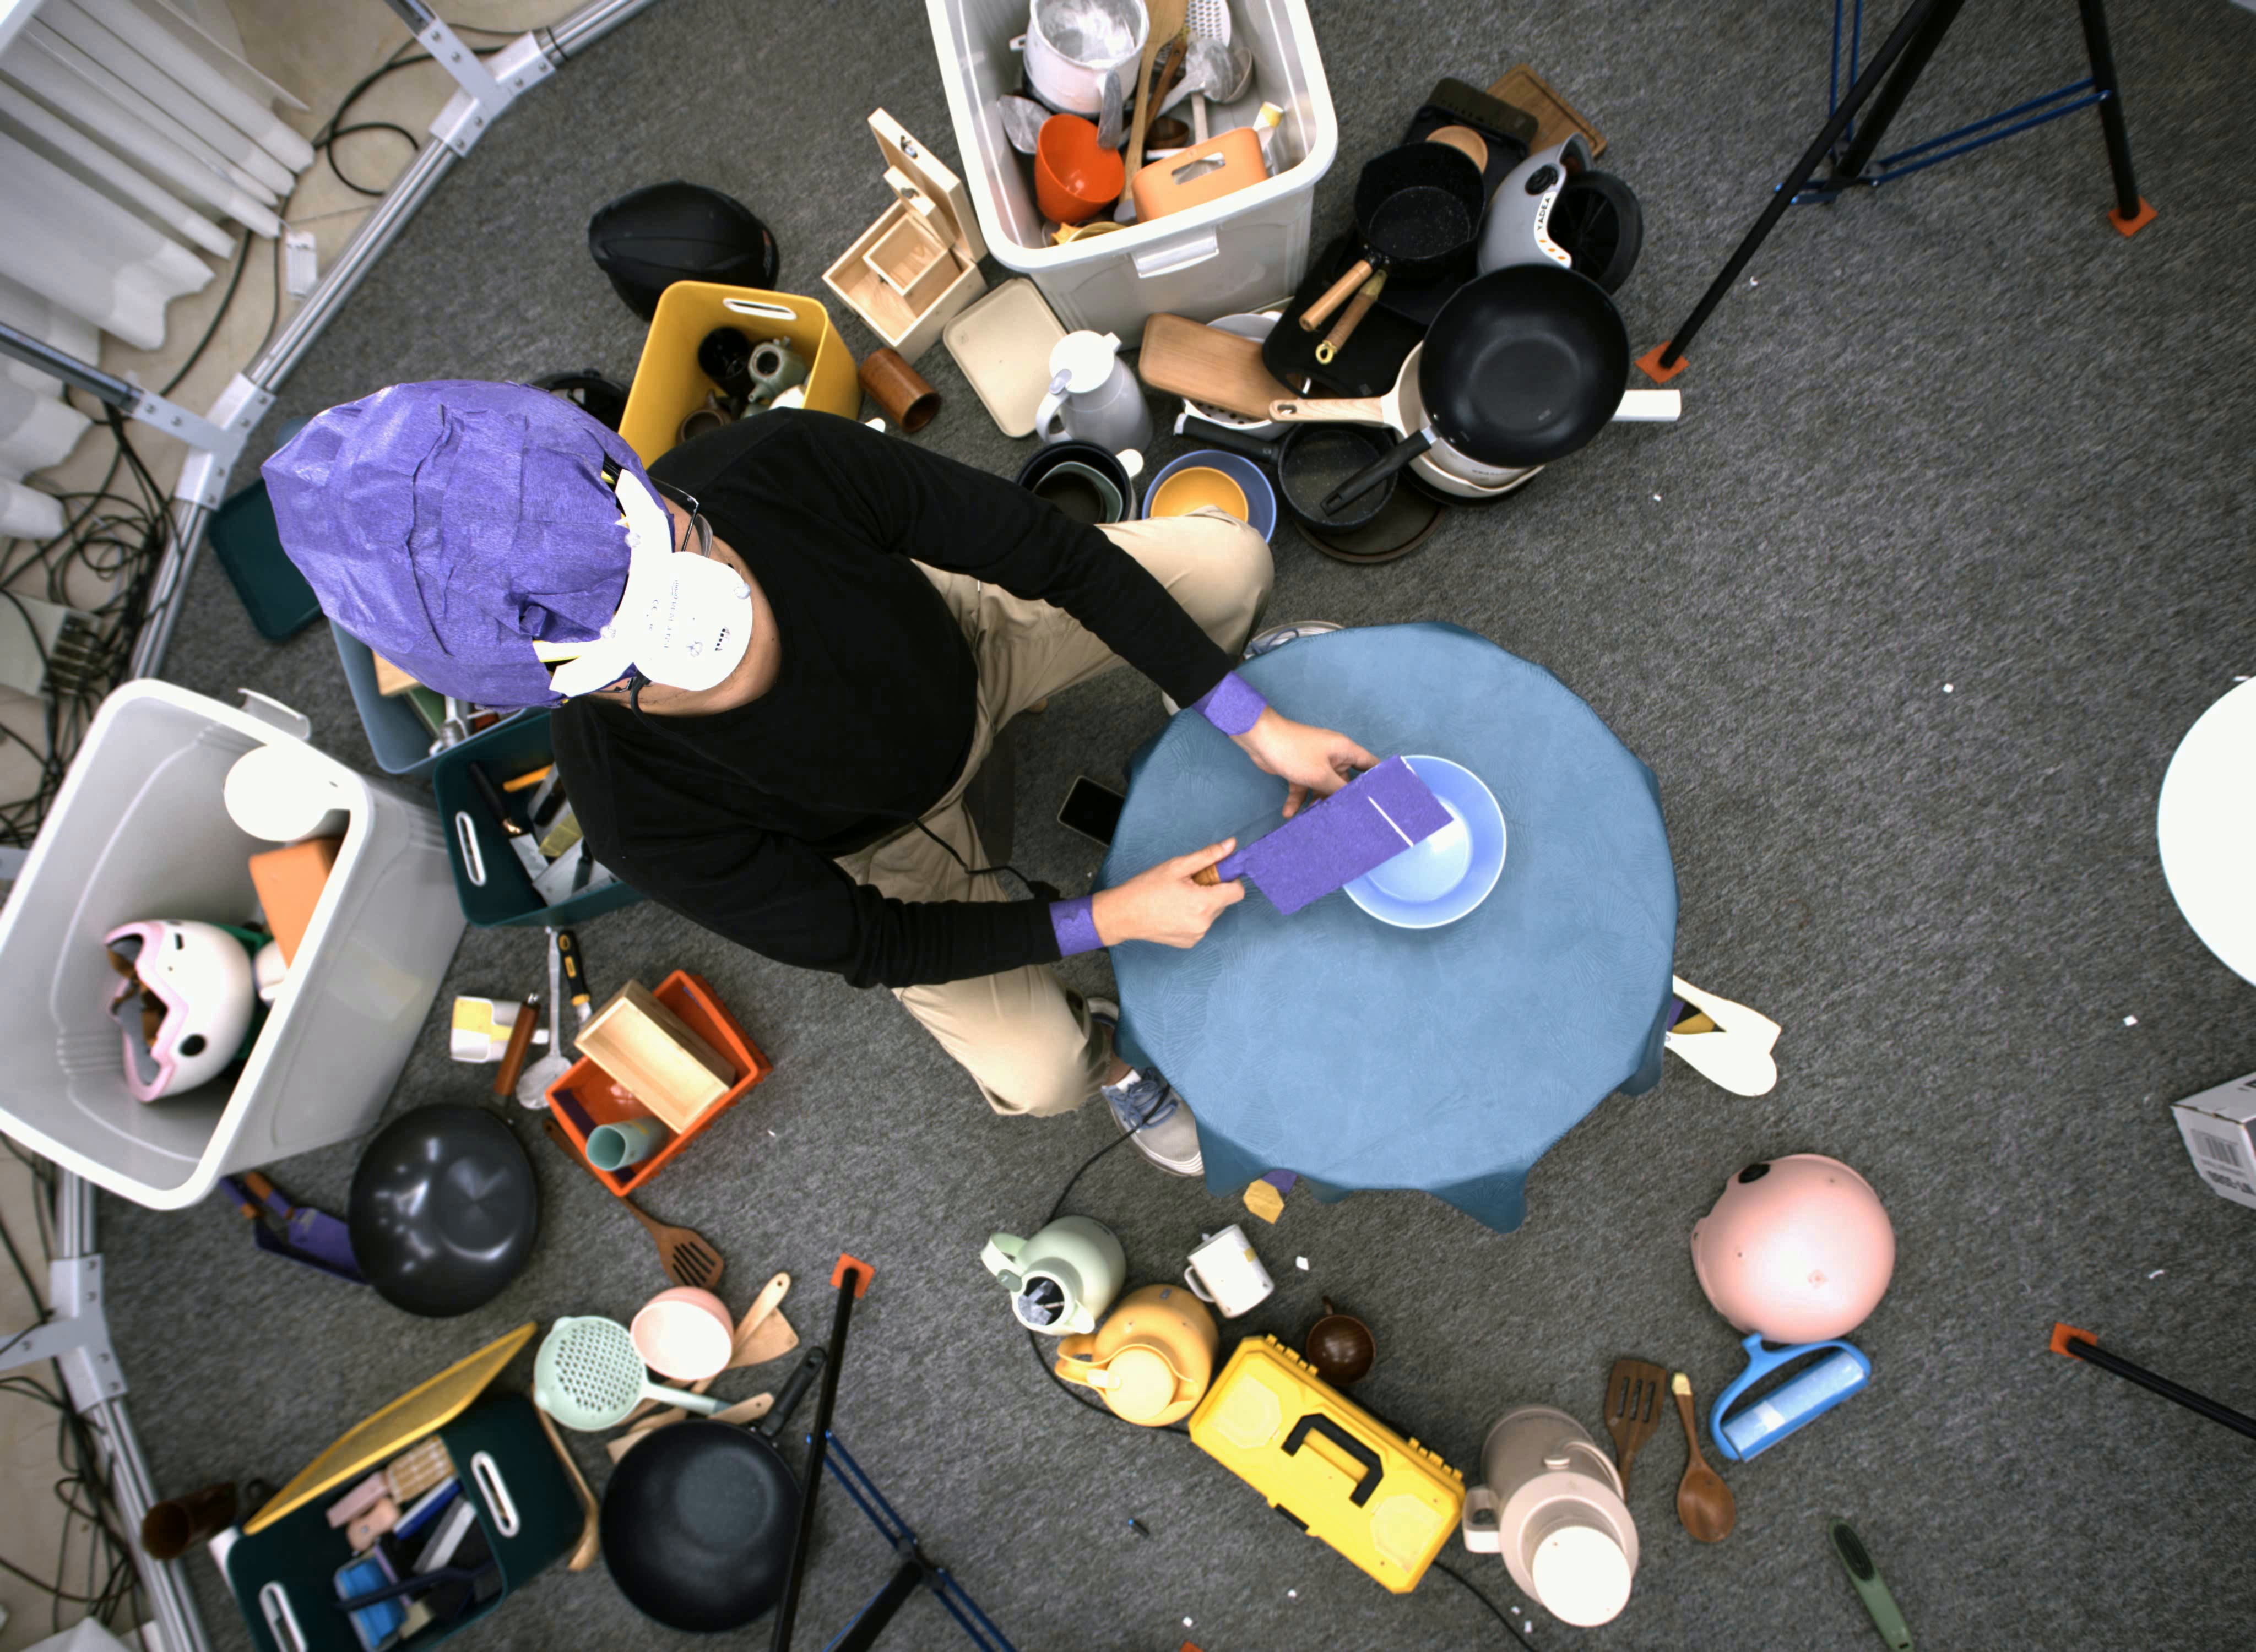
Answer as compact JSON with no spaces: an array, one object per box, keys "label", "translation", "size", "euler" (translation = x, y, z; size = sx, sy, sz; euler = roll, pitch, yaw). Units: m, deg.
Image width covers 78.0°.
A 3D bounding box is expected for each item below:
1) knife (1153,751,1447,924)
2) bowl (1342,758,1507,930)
[{"label":"knife","translation":[0.167,0.038,1.374],"size":[0.321,0.031,0.104],"euler":[-32,110,33]},{"label":"bowl","translation":[0.299,0.020,1.422],"size":[0.177,0.070,0.175],"euler":[-1,85,11]}]
